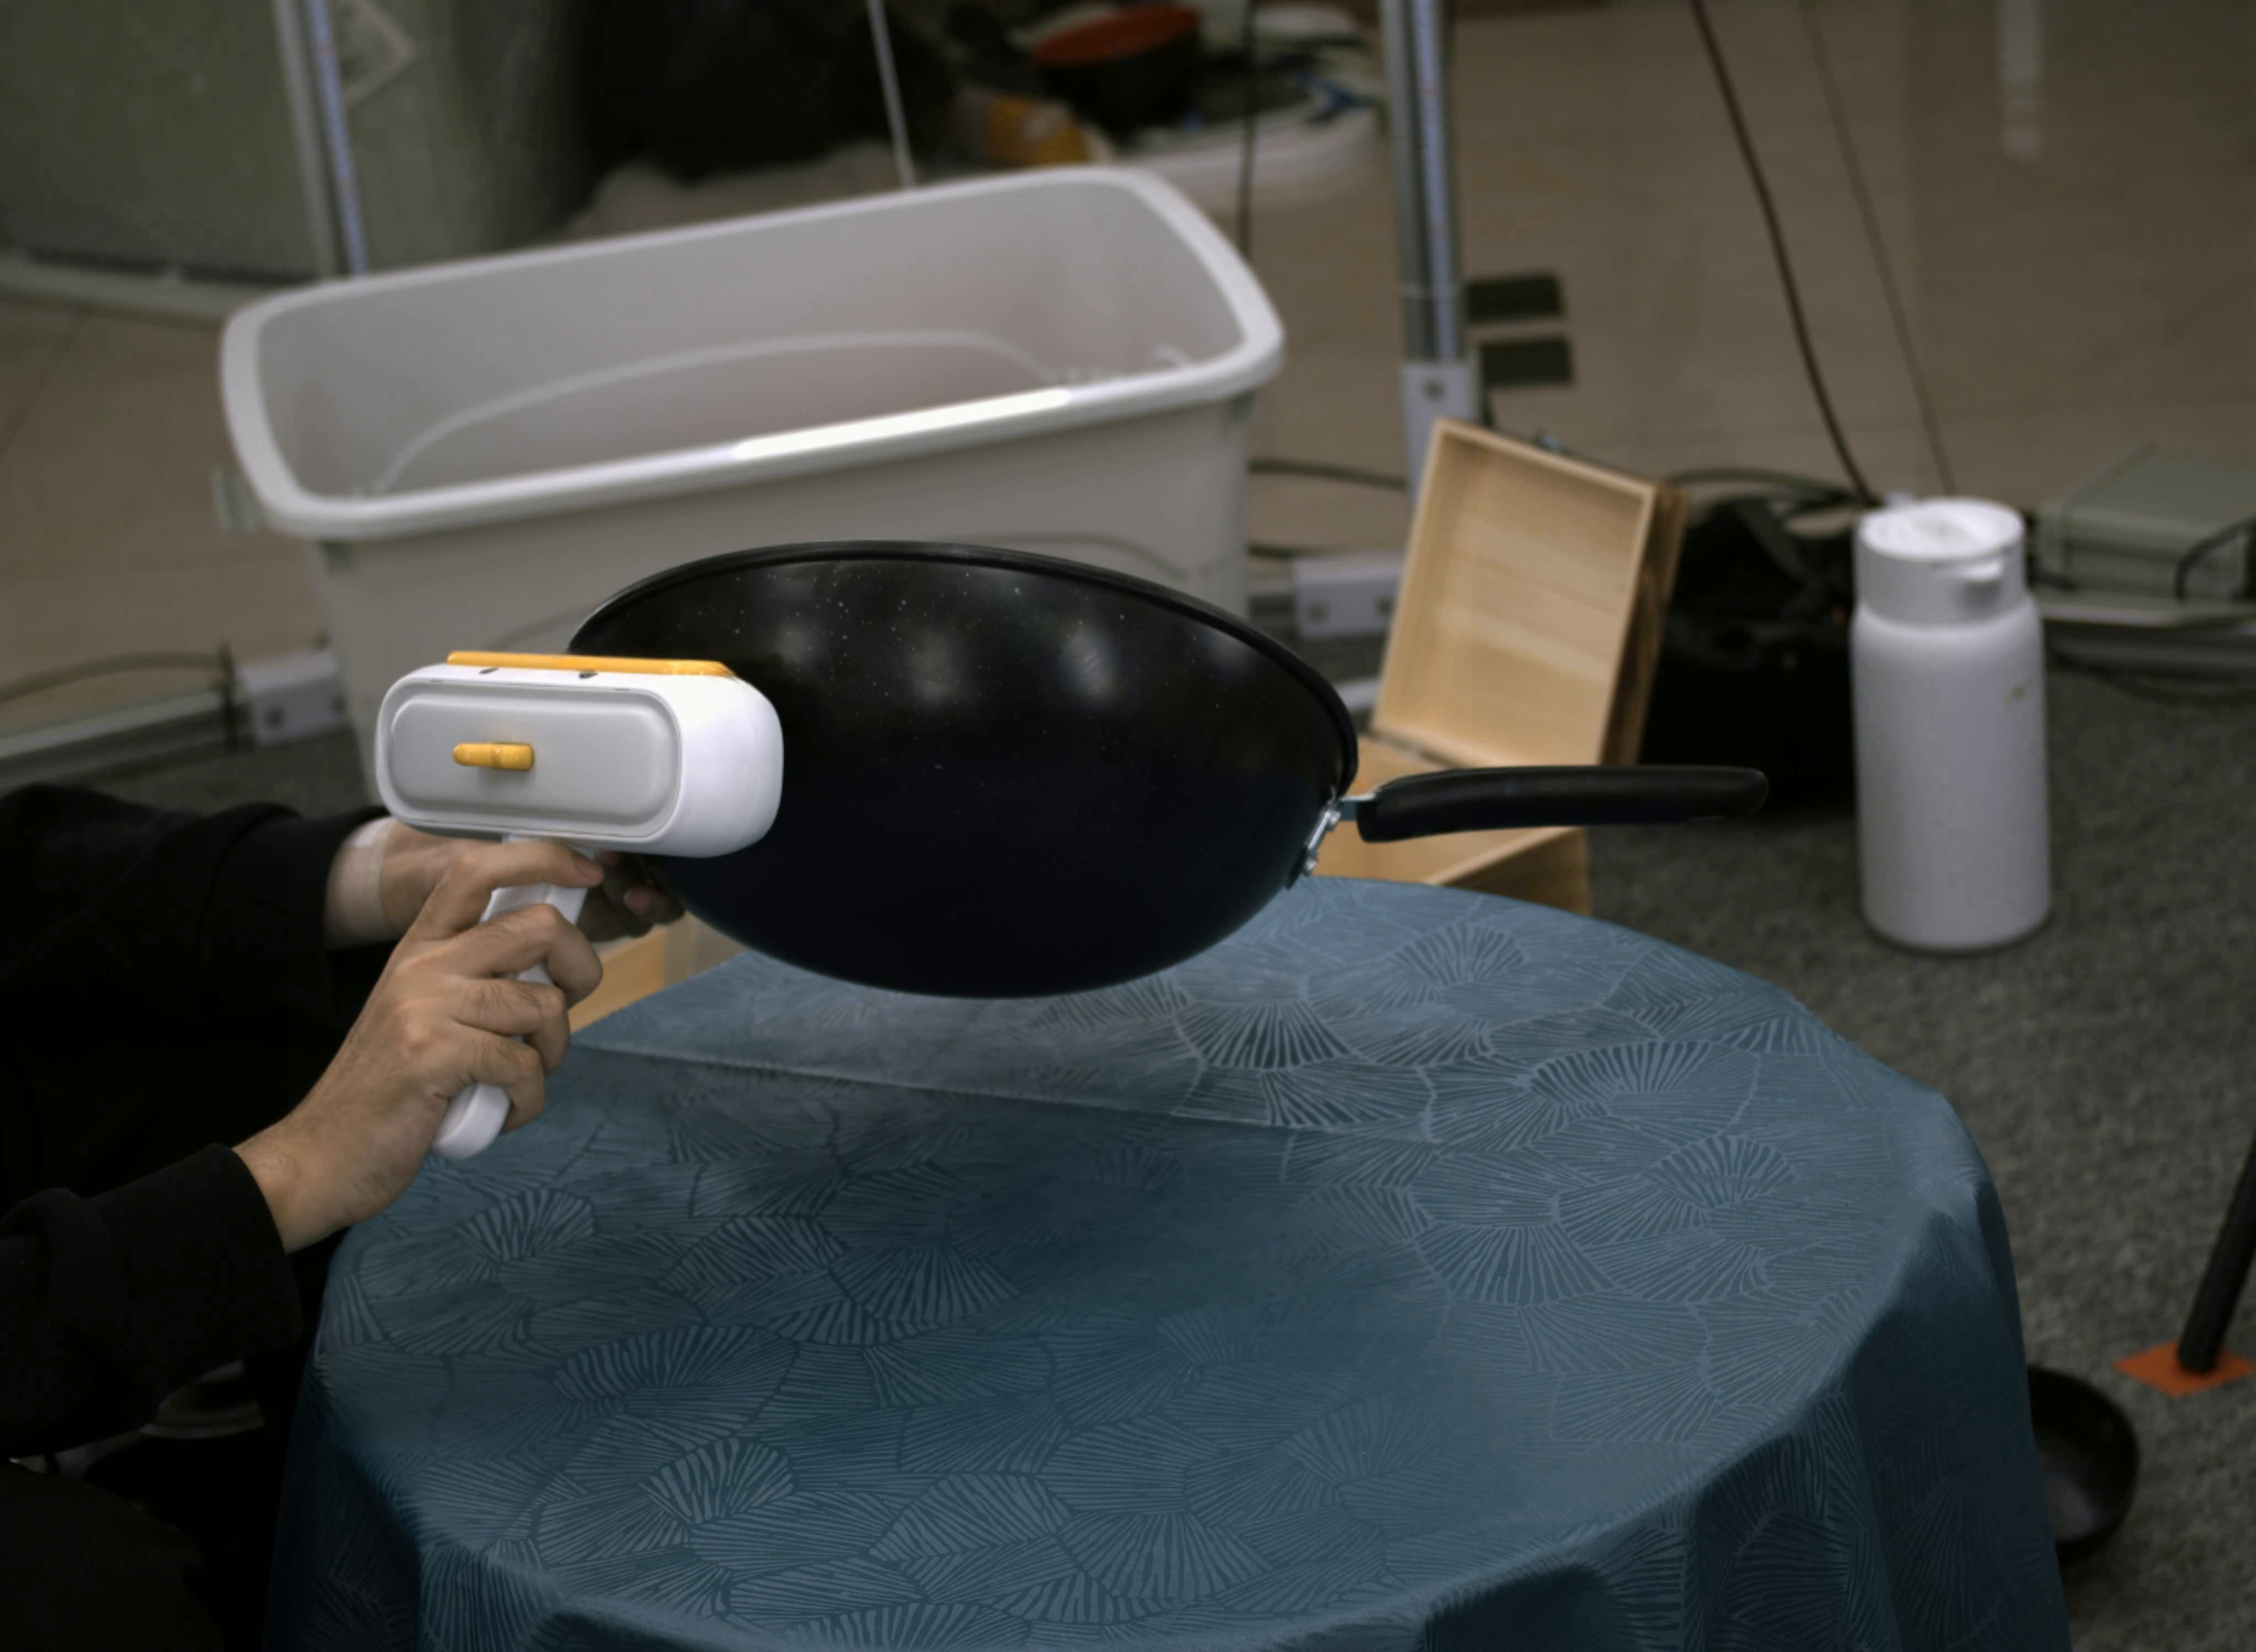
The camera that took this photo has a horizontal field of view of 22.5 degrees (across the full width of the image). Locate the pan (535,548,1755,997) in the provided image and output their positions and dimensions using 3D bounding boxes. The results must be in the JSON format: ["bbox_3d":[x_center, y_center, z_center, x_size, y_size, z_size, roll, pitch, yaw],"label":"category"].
[{"bbox_3d":[0.007,-0.002,2.162,0.476,0.314,0.110,8,69,-9],"label":"pan"}]

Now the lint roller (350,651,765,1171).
[{"bbox_3d":[-0.220,0.031,2.058,0.192,0.192,0.074,1,-7,39],"label":"lint roller"}]
